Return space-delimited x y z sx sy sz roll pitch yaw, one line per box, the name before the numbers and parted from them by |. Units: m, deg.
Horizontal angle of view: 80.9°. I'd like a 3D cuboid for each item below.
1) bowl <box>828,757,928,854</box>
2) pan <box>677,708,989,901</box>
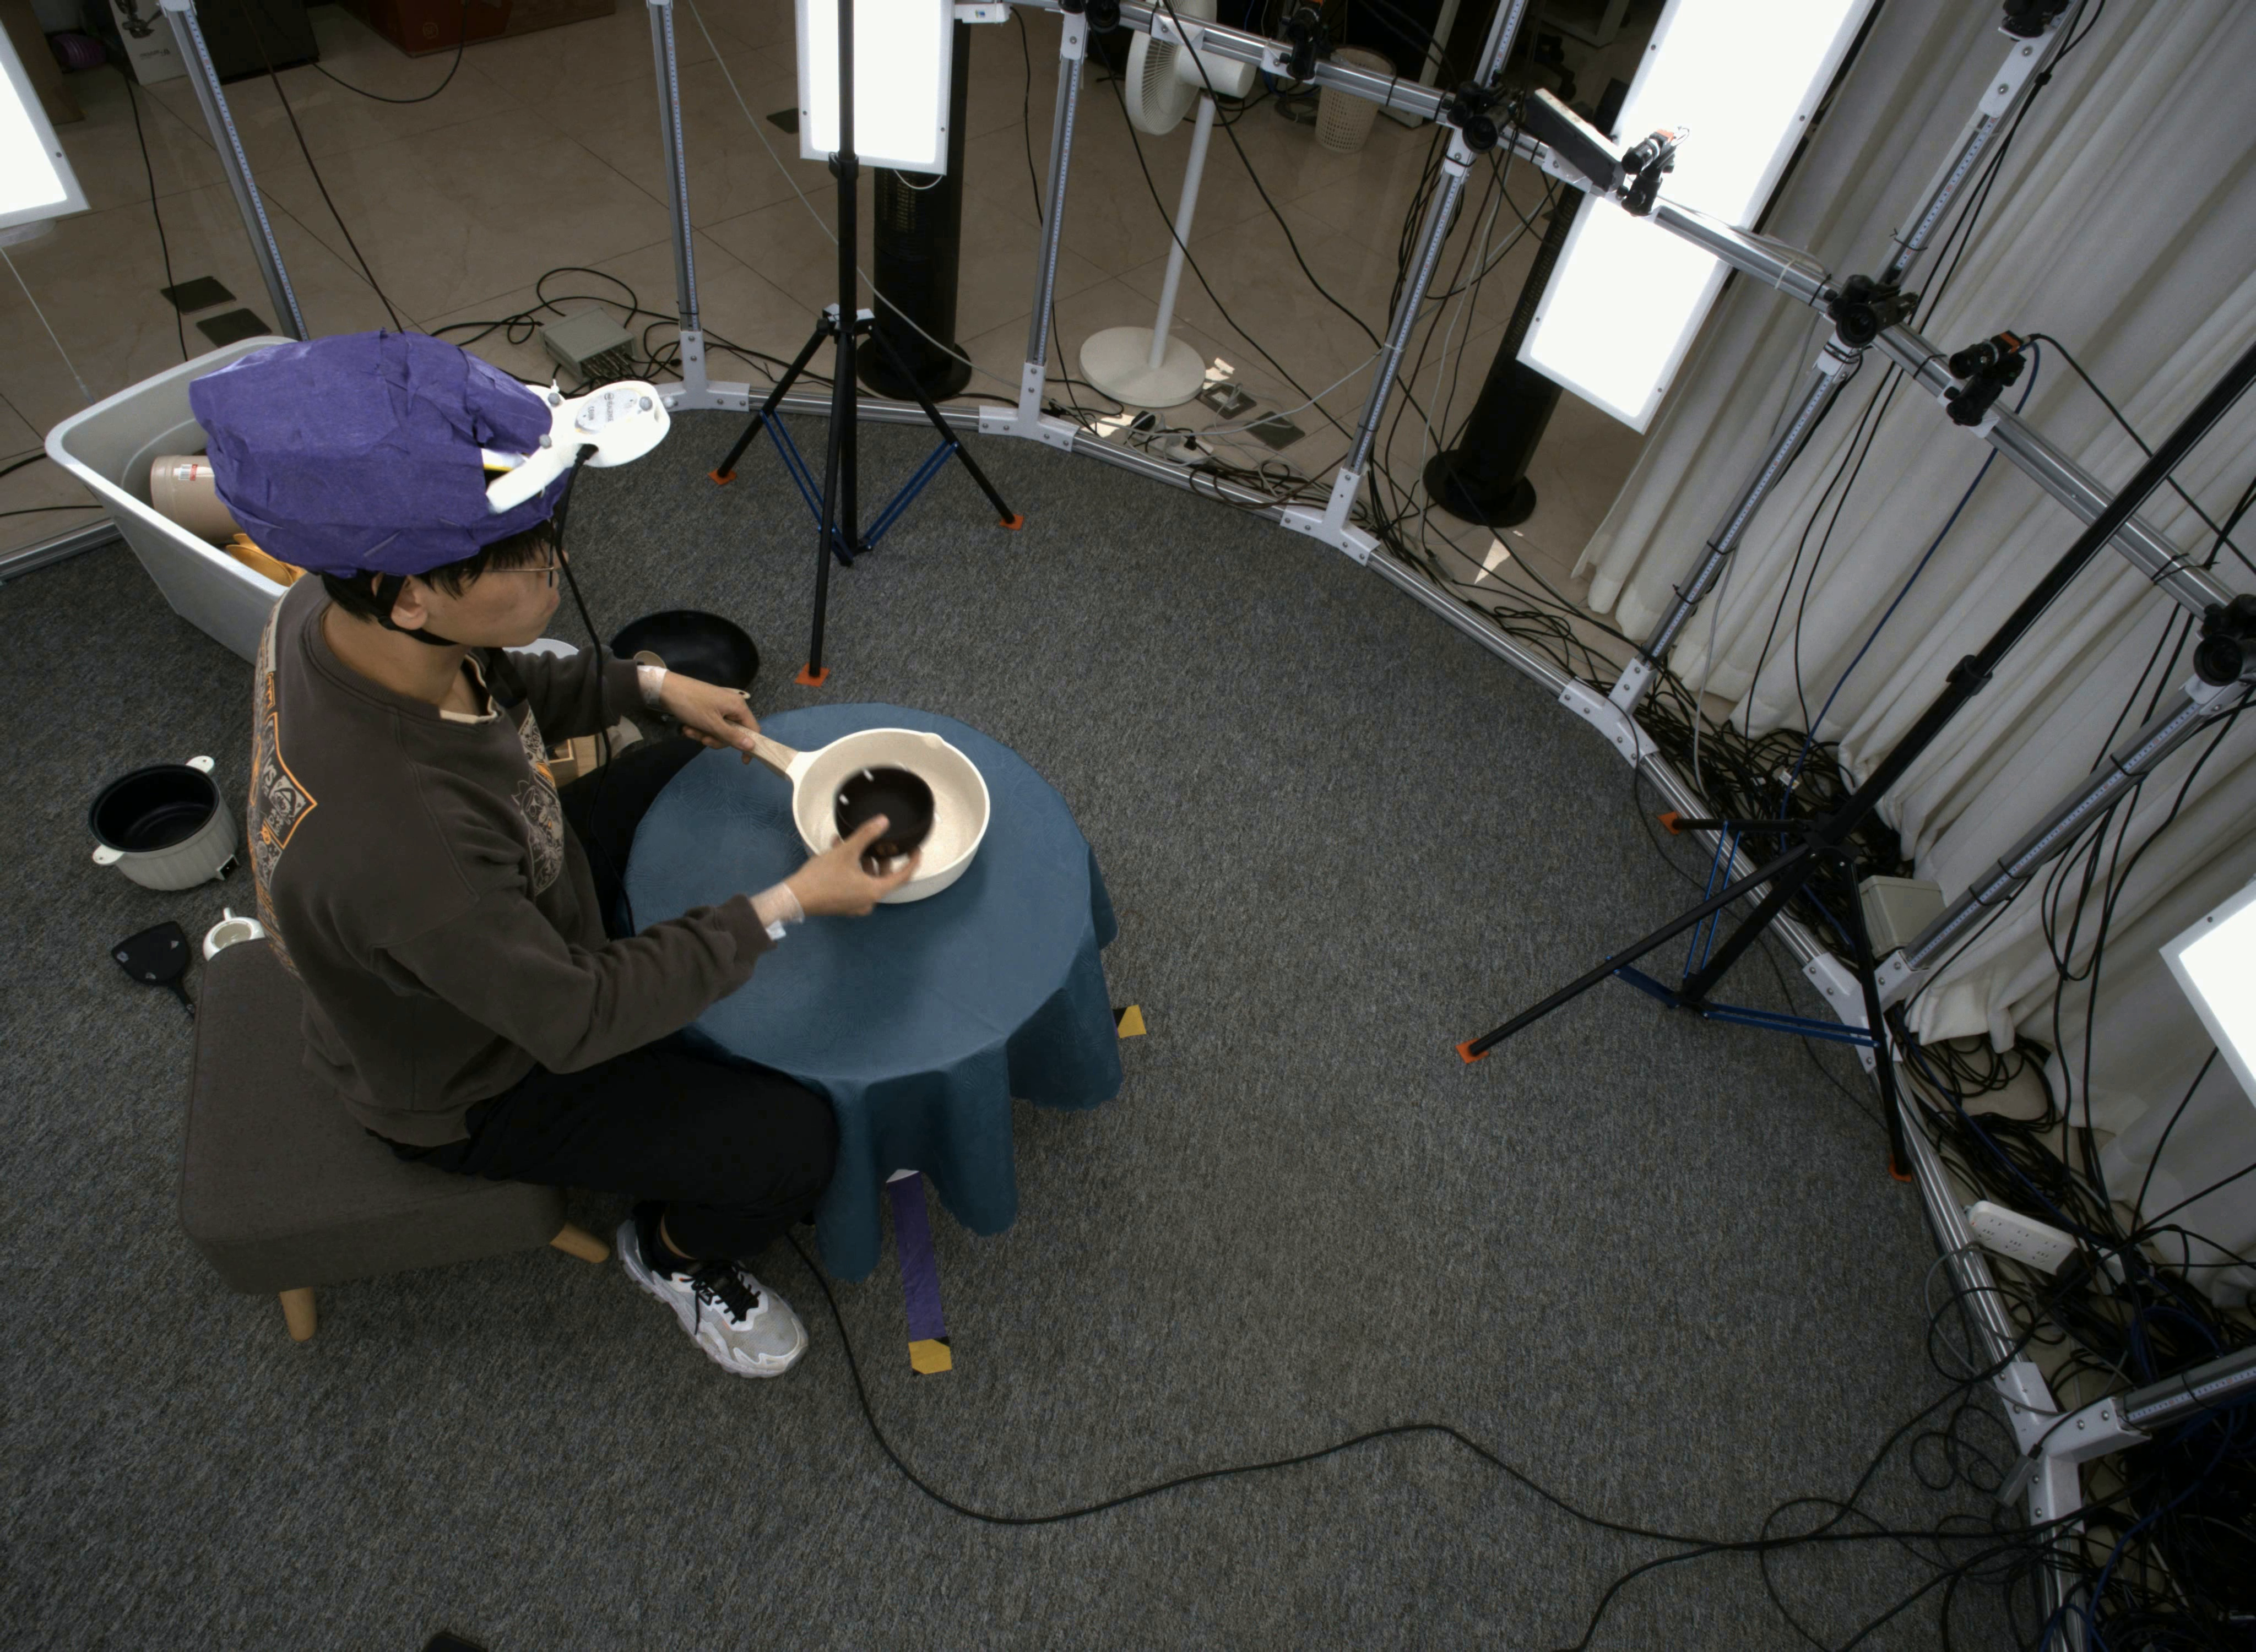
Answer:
bowl | -0.297 -0.017 1.549 0.117 0.071 0.116 7 53 -7
pan | -0.394 -0.048 1.718 0.430 0.104 0.261 21 54 3
